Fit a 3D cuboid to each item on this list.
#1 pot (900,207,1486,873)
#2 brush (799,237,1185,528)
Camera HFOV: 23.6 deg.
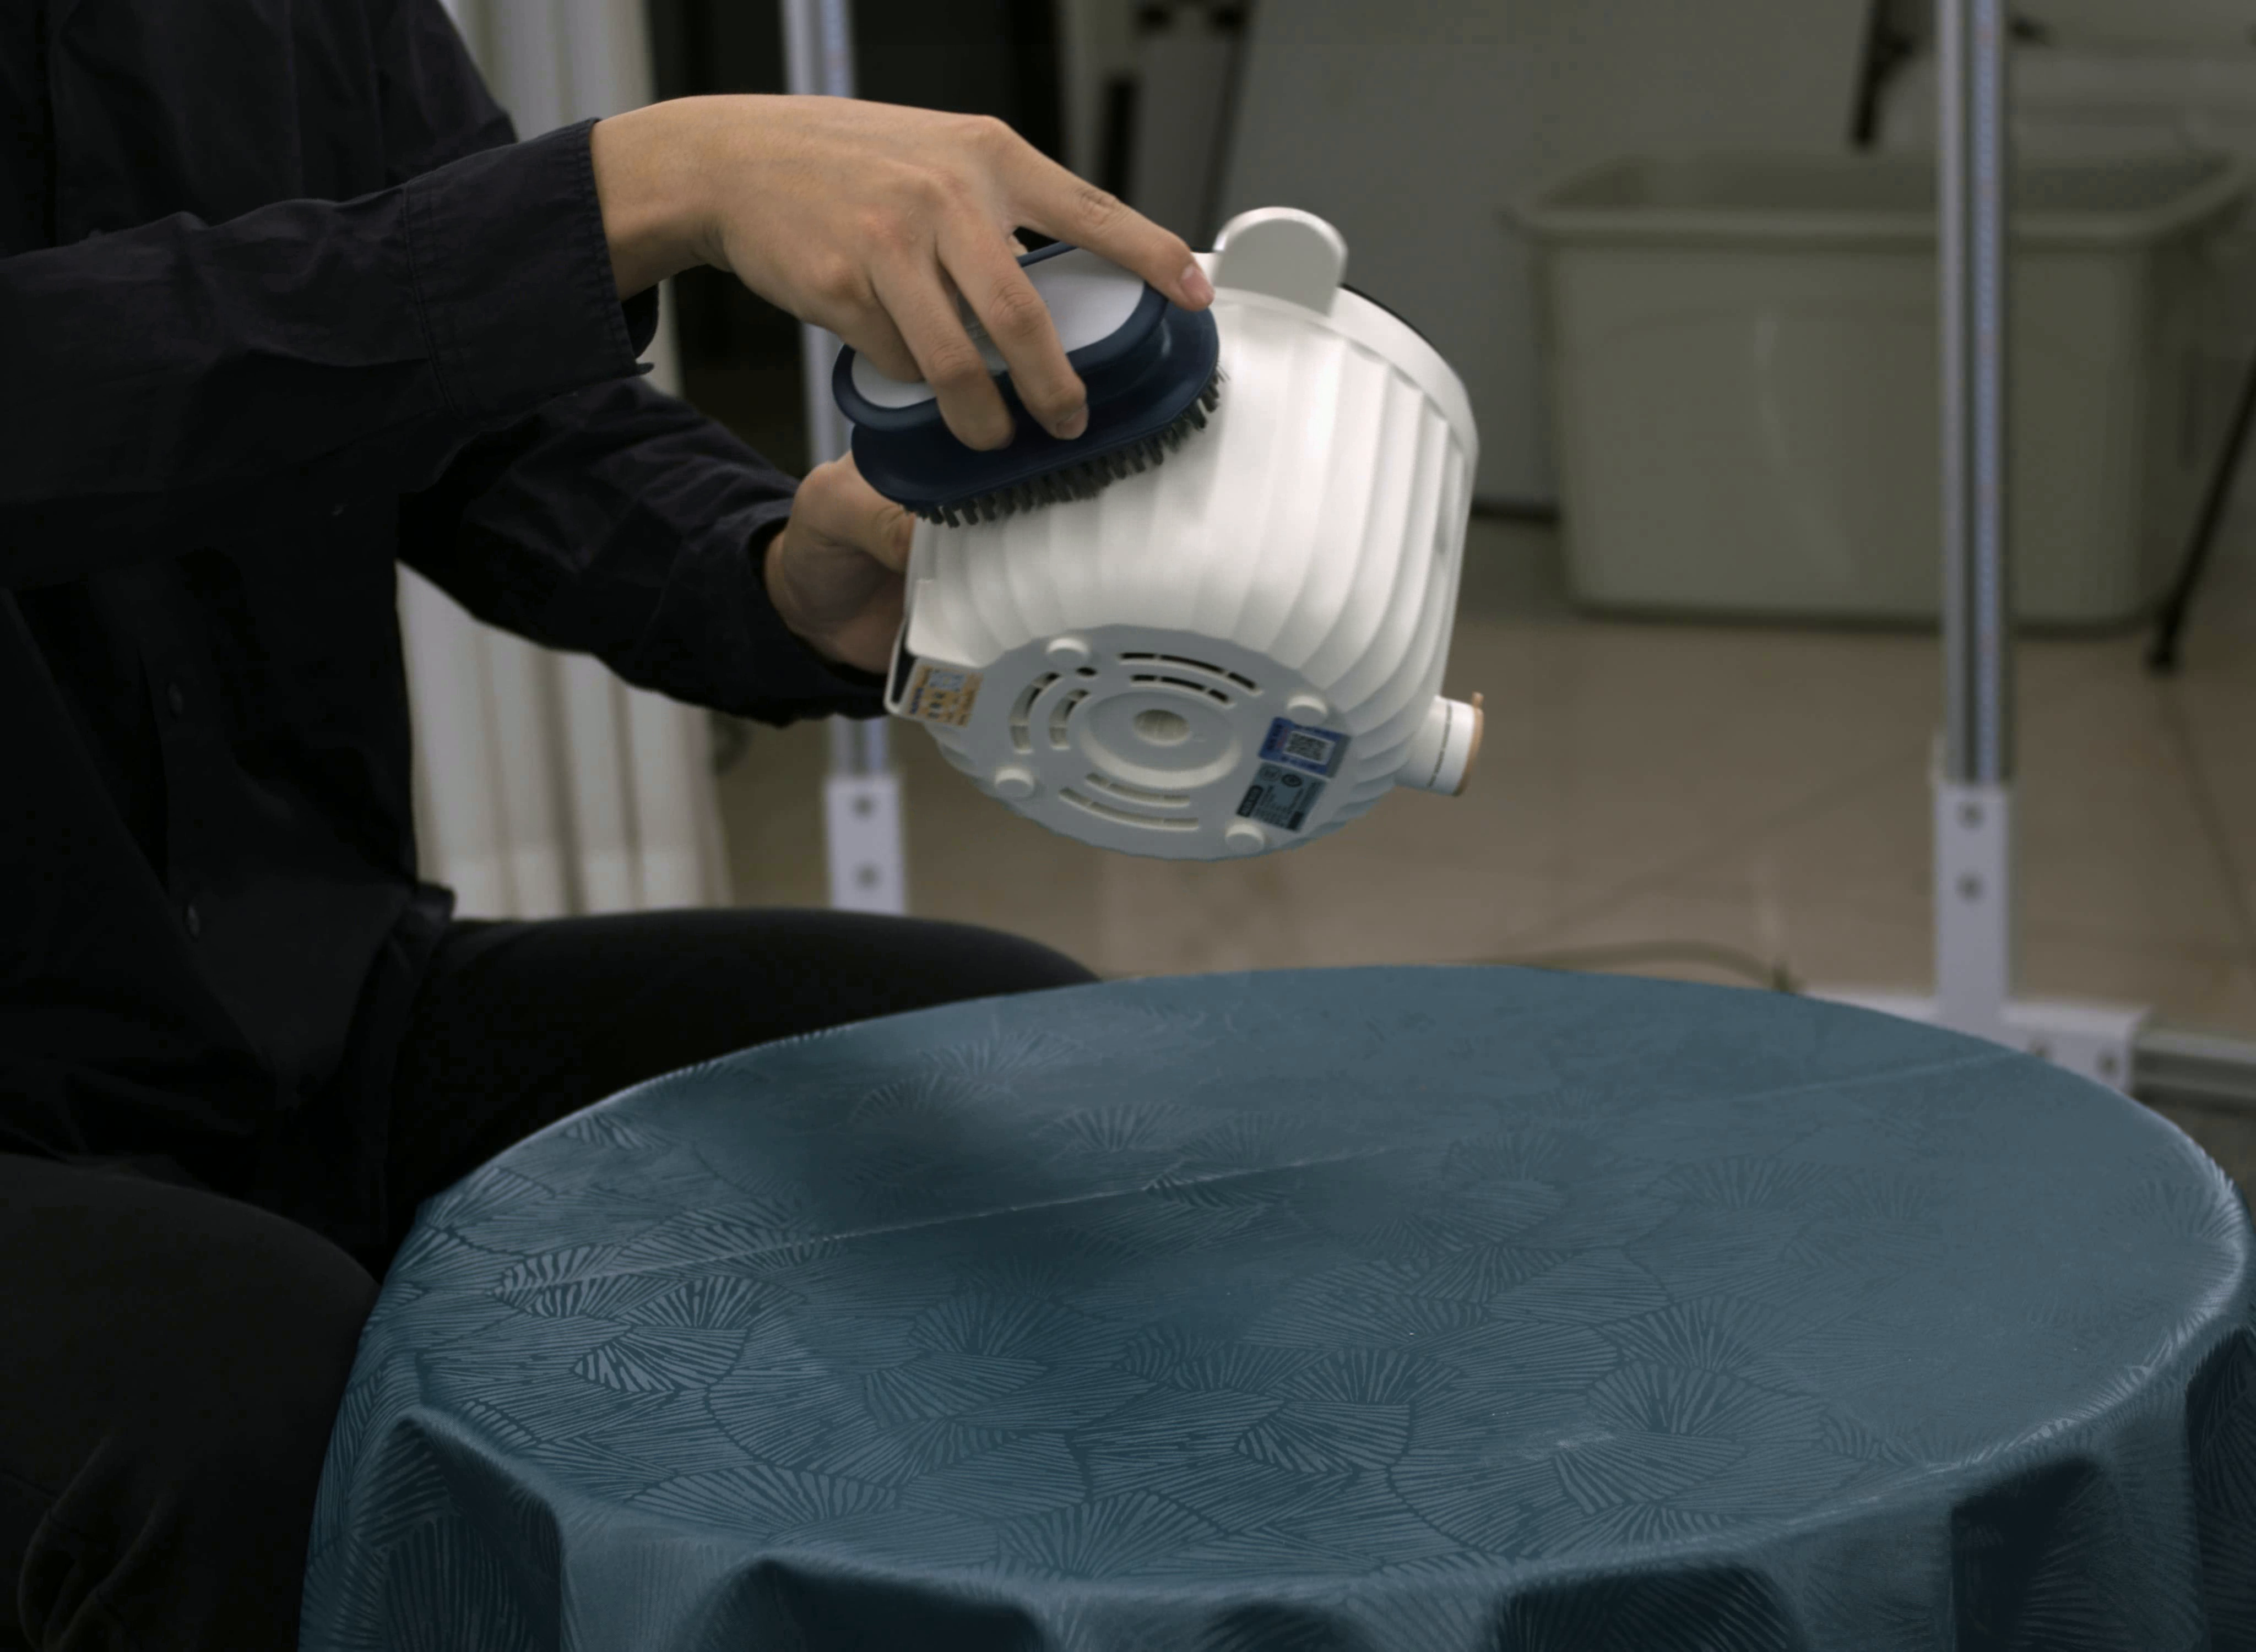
[{"bbox_3d":[0.026,-0.075,1.761,0.187,0.144,0.242,12,-34,-9],"label":"pot"},{"bbox_3d":[-0.040,-0.134,1.662,0.121,0.061,0.068,-12,51,15],"label":"brush"}]
